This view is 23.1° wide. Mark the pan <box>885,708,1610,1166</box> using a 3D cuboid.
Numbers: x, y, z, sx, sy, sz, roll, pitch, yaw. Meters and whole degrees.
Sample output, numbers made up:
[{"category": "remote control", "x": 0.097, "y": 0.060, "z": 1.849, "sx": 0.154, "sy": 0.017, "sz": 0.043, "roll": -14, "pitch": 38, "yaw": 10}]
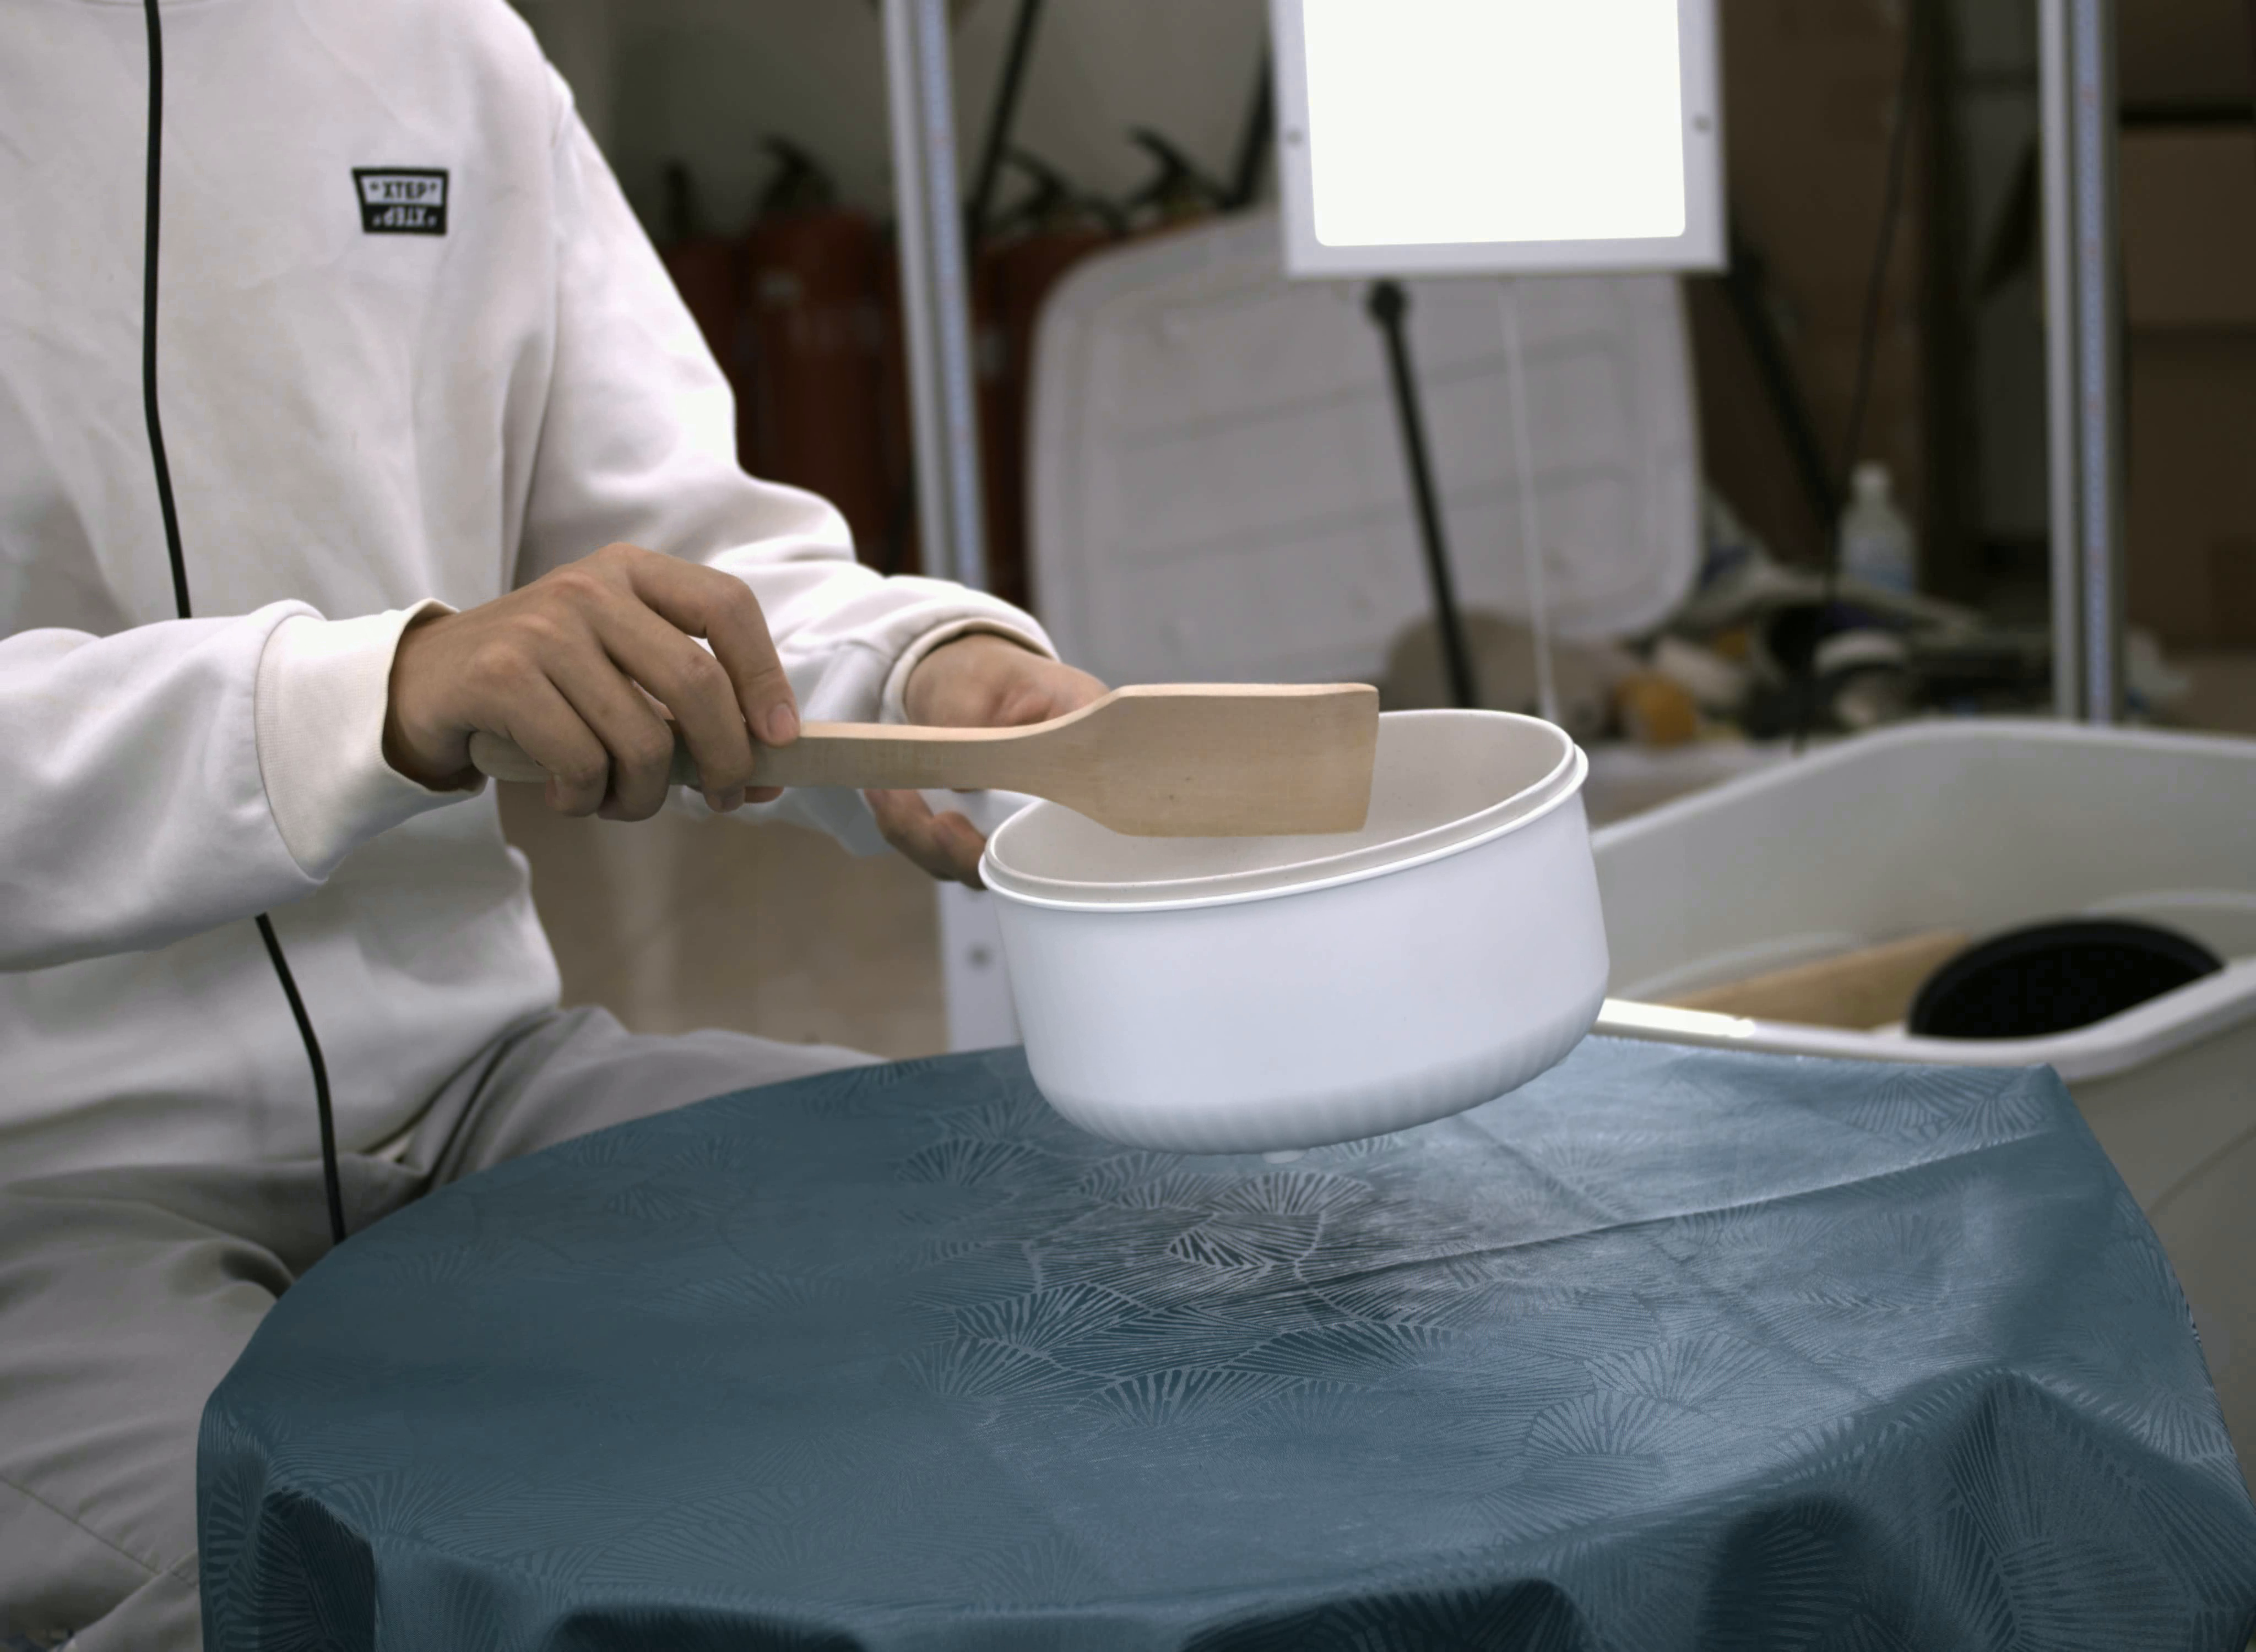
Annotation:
[{"category": "pan", "x": 0.020, "y": 0.030, "z": 1.863, "sx": 0.197, "sy": 0.102, "sz": 0.361, "roll": -19, "pitch": 15, "yaw": -26}]

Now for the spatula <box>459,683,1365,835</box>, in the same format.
[{"category": "spatula", "x": -0.069, "y": -0.023, "z": 1.776, "sx": 0.292, "sy": 0.072, "sz": 0.010, "roll": 1, "pitch": 51, "yaw": 0}]
